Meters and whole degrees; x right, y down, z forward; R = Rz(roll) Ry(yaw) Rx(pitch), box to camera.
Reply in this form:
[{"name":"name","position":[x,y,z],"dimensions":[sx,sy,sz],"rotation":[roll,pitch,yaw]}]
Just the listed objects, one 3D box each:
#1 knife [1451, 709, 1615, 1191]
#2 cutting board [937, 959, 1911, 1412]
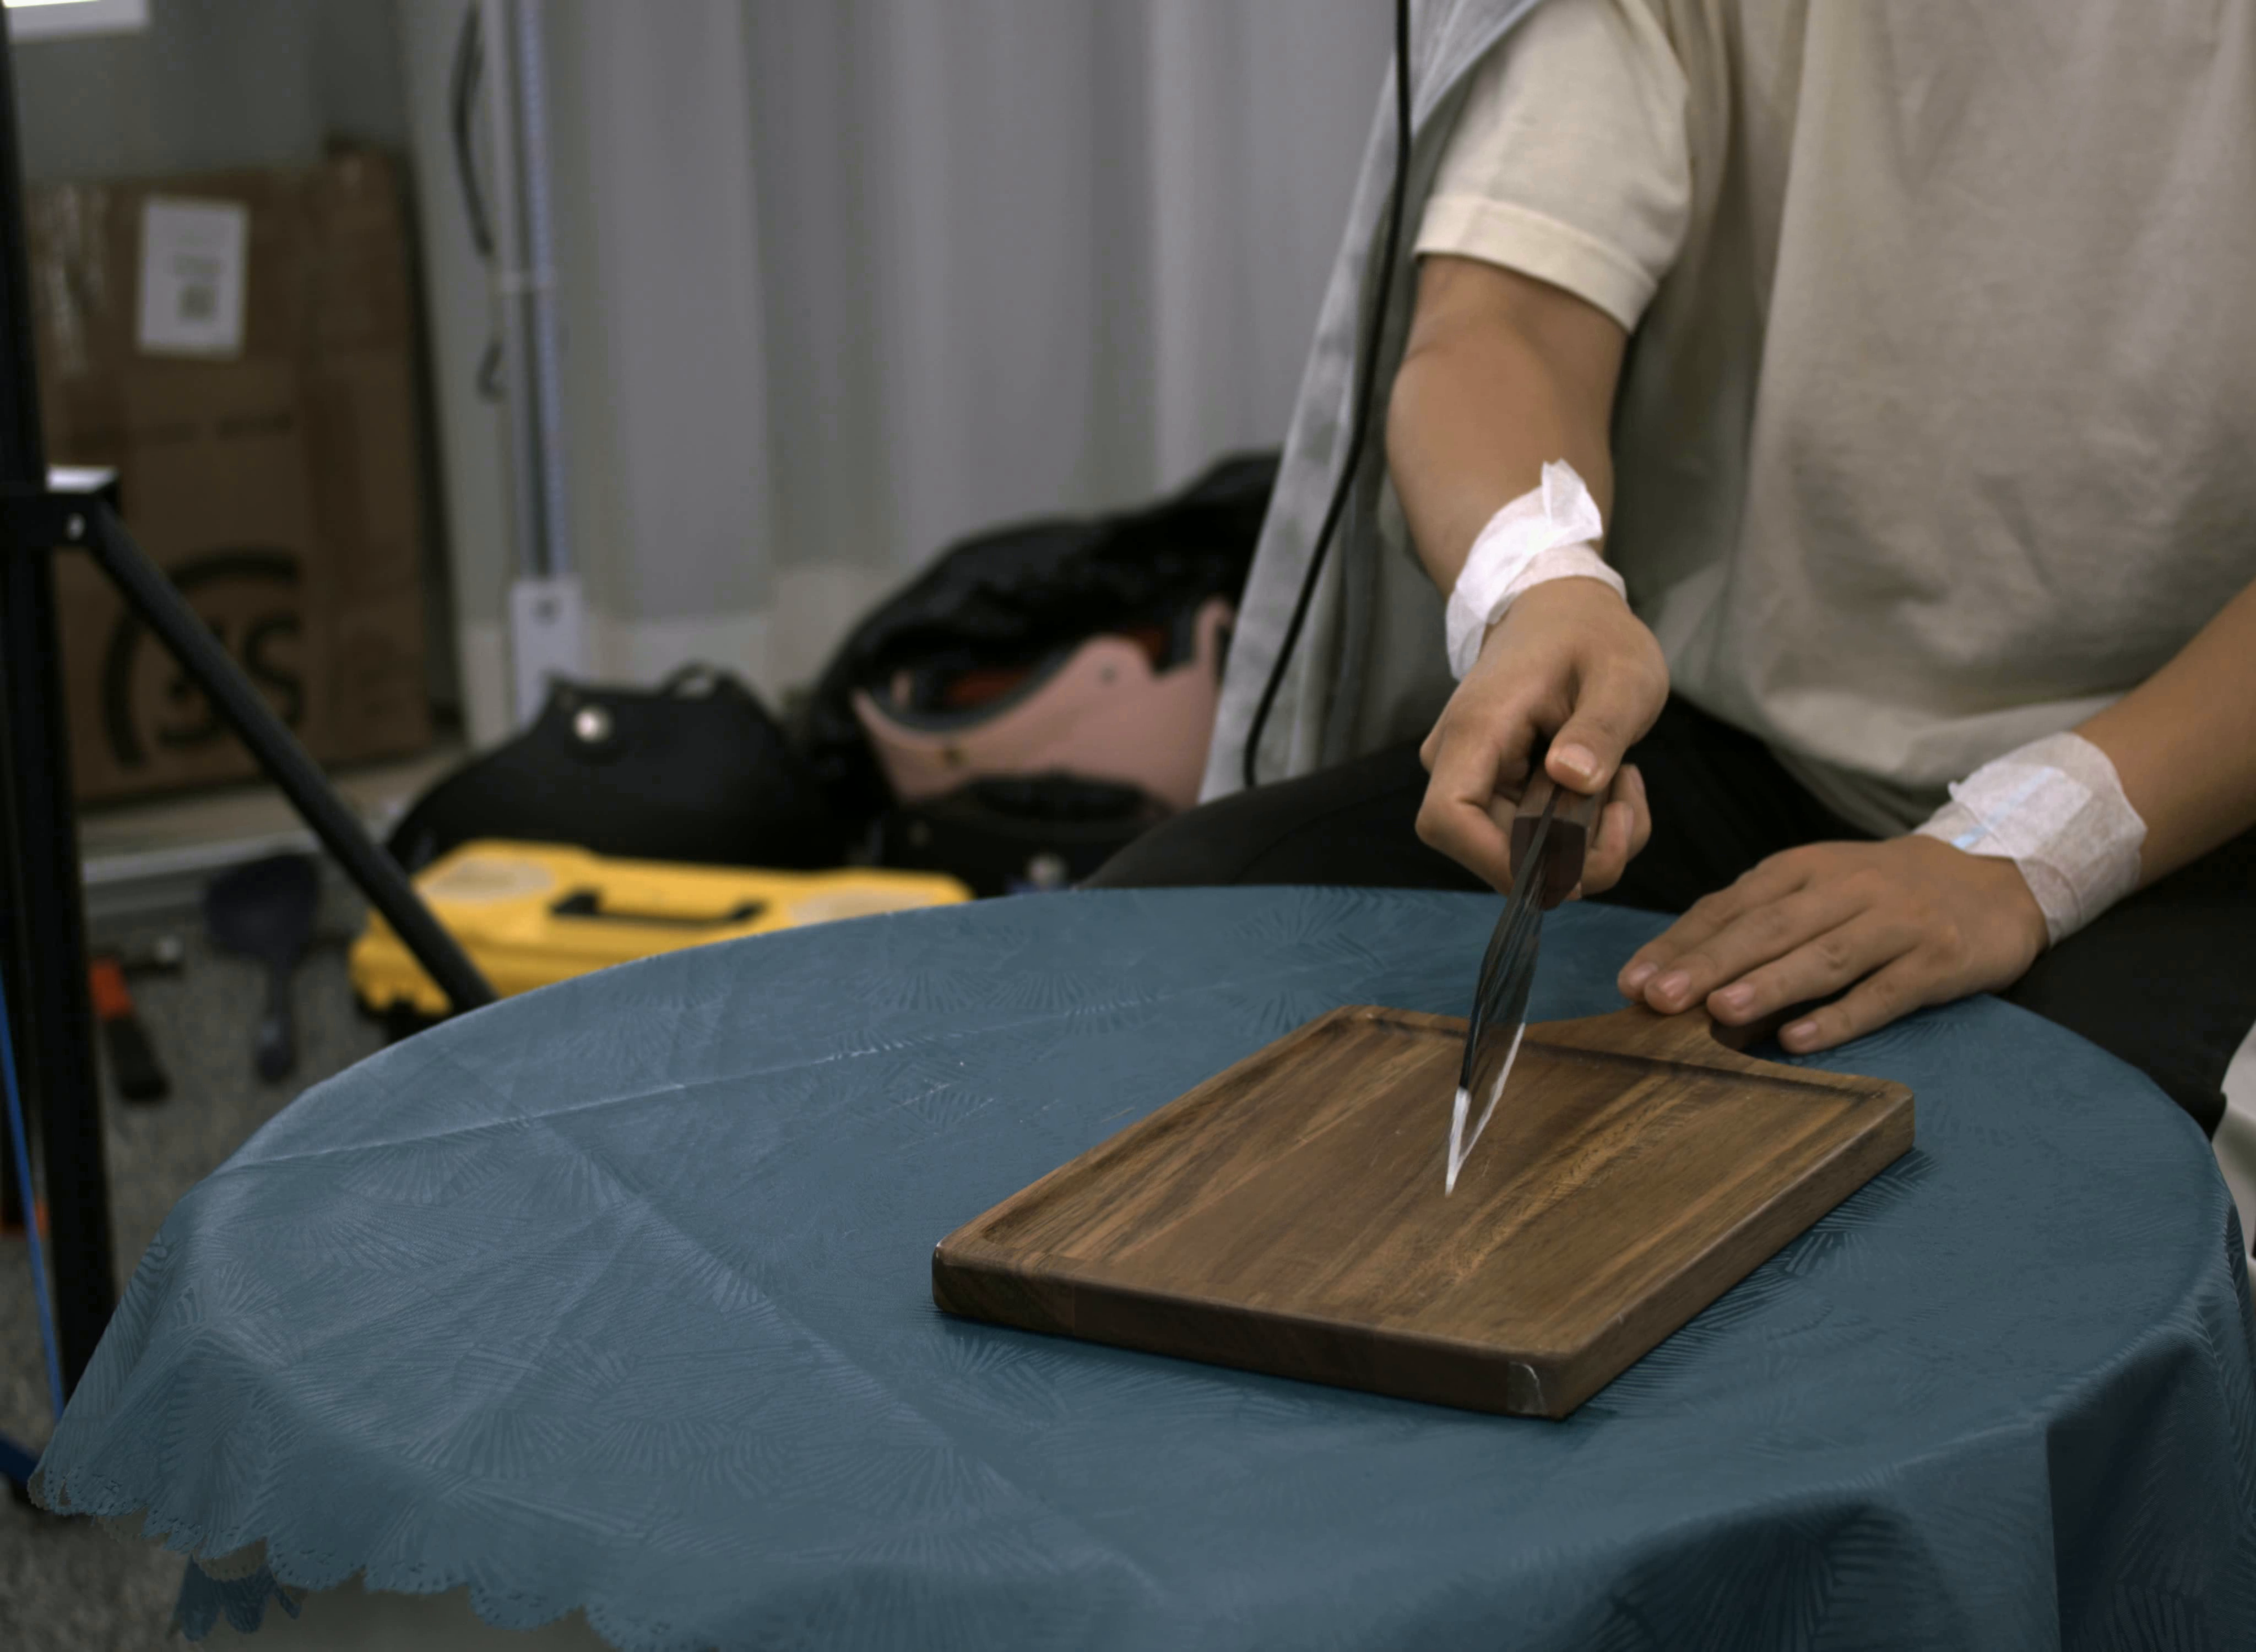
[{"name":"knife","position":[0.118,0.033,1.582],"dimensions":[0.024,0.068,0.298],"rotation":[7,19,9]},{"name":"cutting board","position":[0.114,0.095,1.554],"dimensions":[0.204,0.023,0.346],"rotation":[5,16,30]}]
